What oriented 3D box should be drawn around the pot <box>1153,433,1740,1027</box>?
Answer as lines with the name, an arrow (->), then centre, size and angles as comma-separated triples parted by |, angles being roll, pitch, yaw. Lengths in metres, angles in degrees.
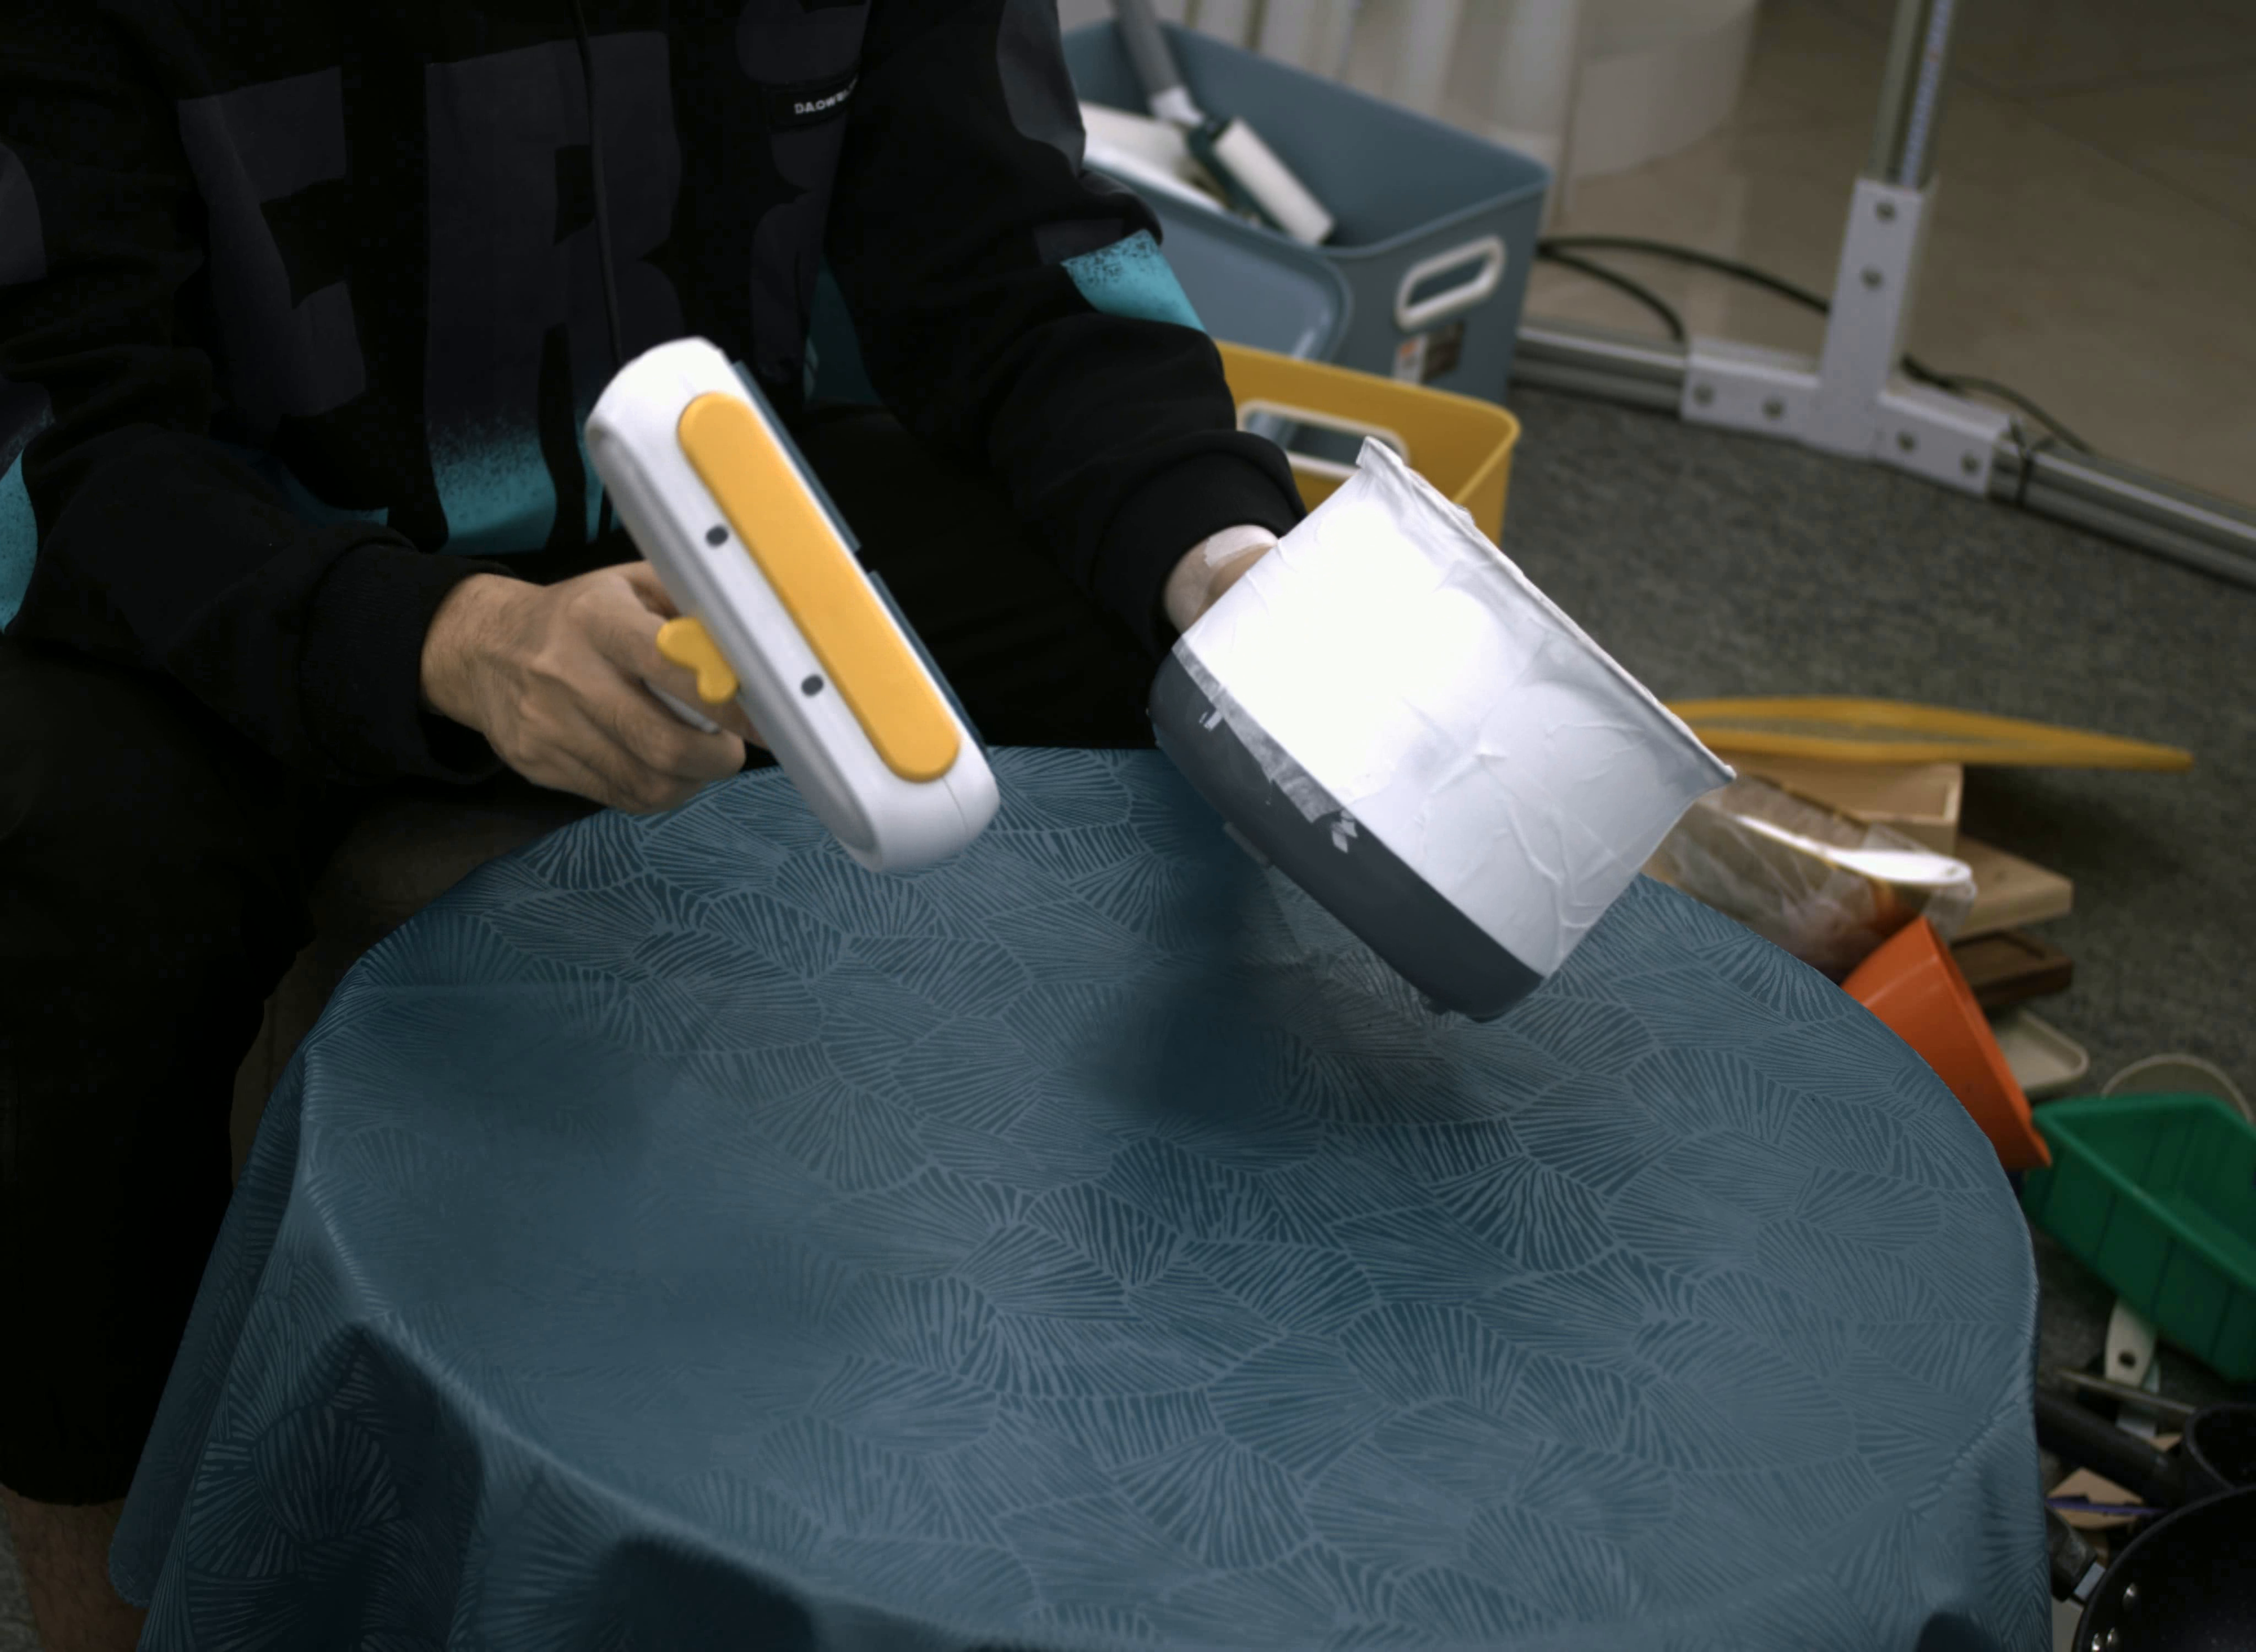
pot -> 0.099, -0.041, 1.889 | 0.177, 0.136, 0.235 | 42, 6, -26

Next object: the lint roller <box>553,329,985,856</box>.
lint roller -> -0.141, -0.055, 1.794 | 0.074, 0.192, 0.193 | -39, 89, -25
